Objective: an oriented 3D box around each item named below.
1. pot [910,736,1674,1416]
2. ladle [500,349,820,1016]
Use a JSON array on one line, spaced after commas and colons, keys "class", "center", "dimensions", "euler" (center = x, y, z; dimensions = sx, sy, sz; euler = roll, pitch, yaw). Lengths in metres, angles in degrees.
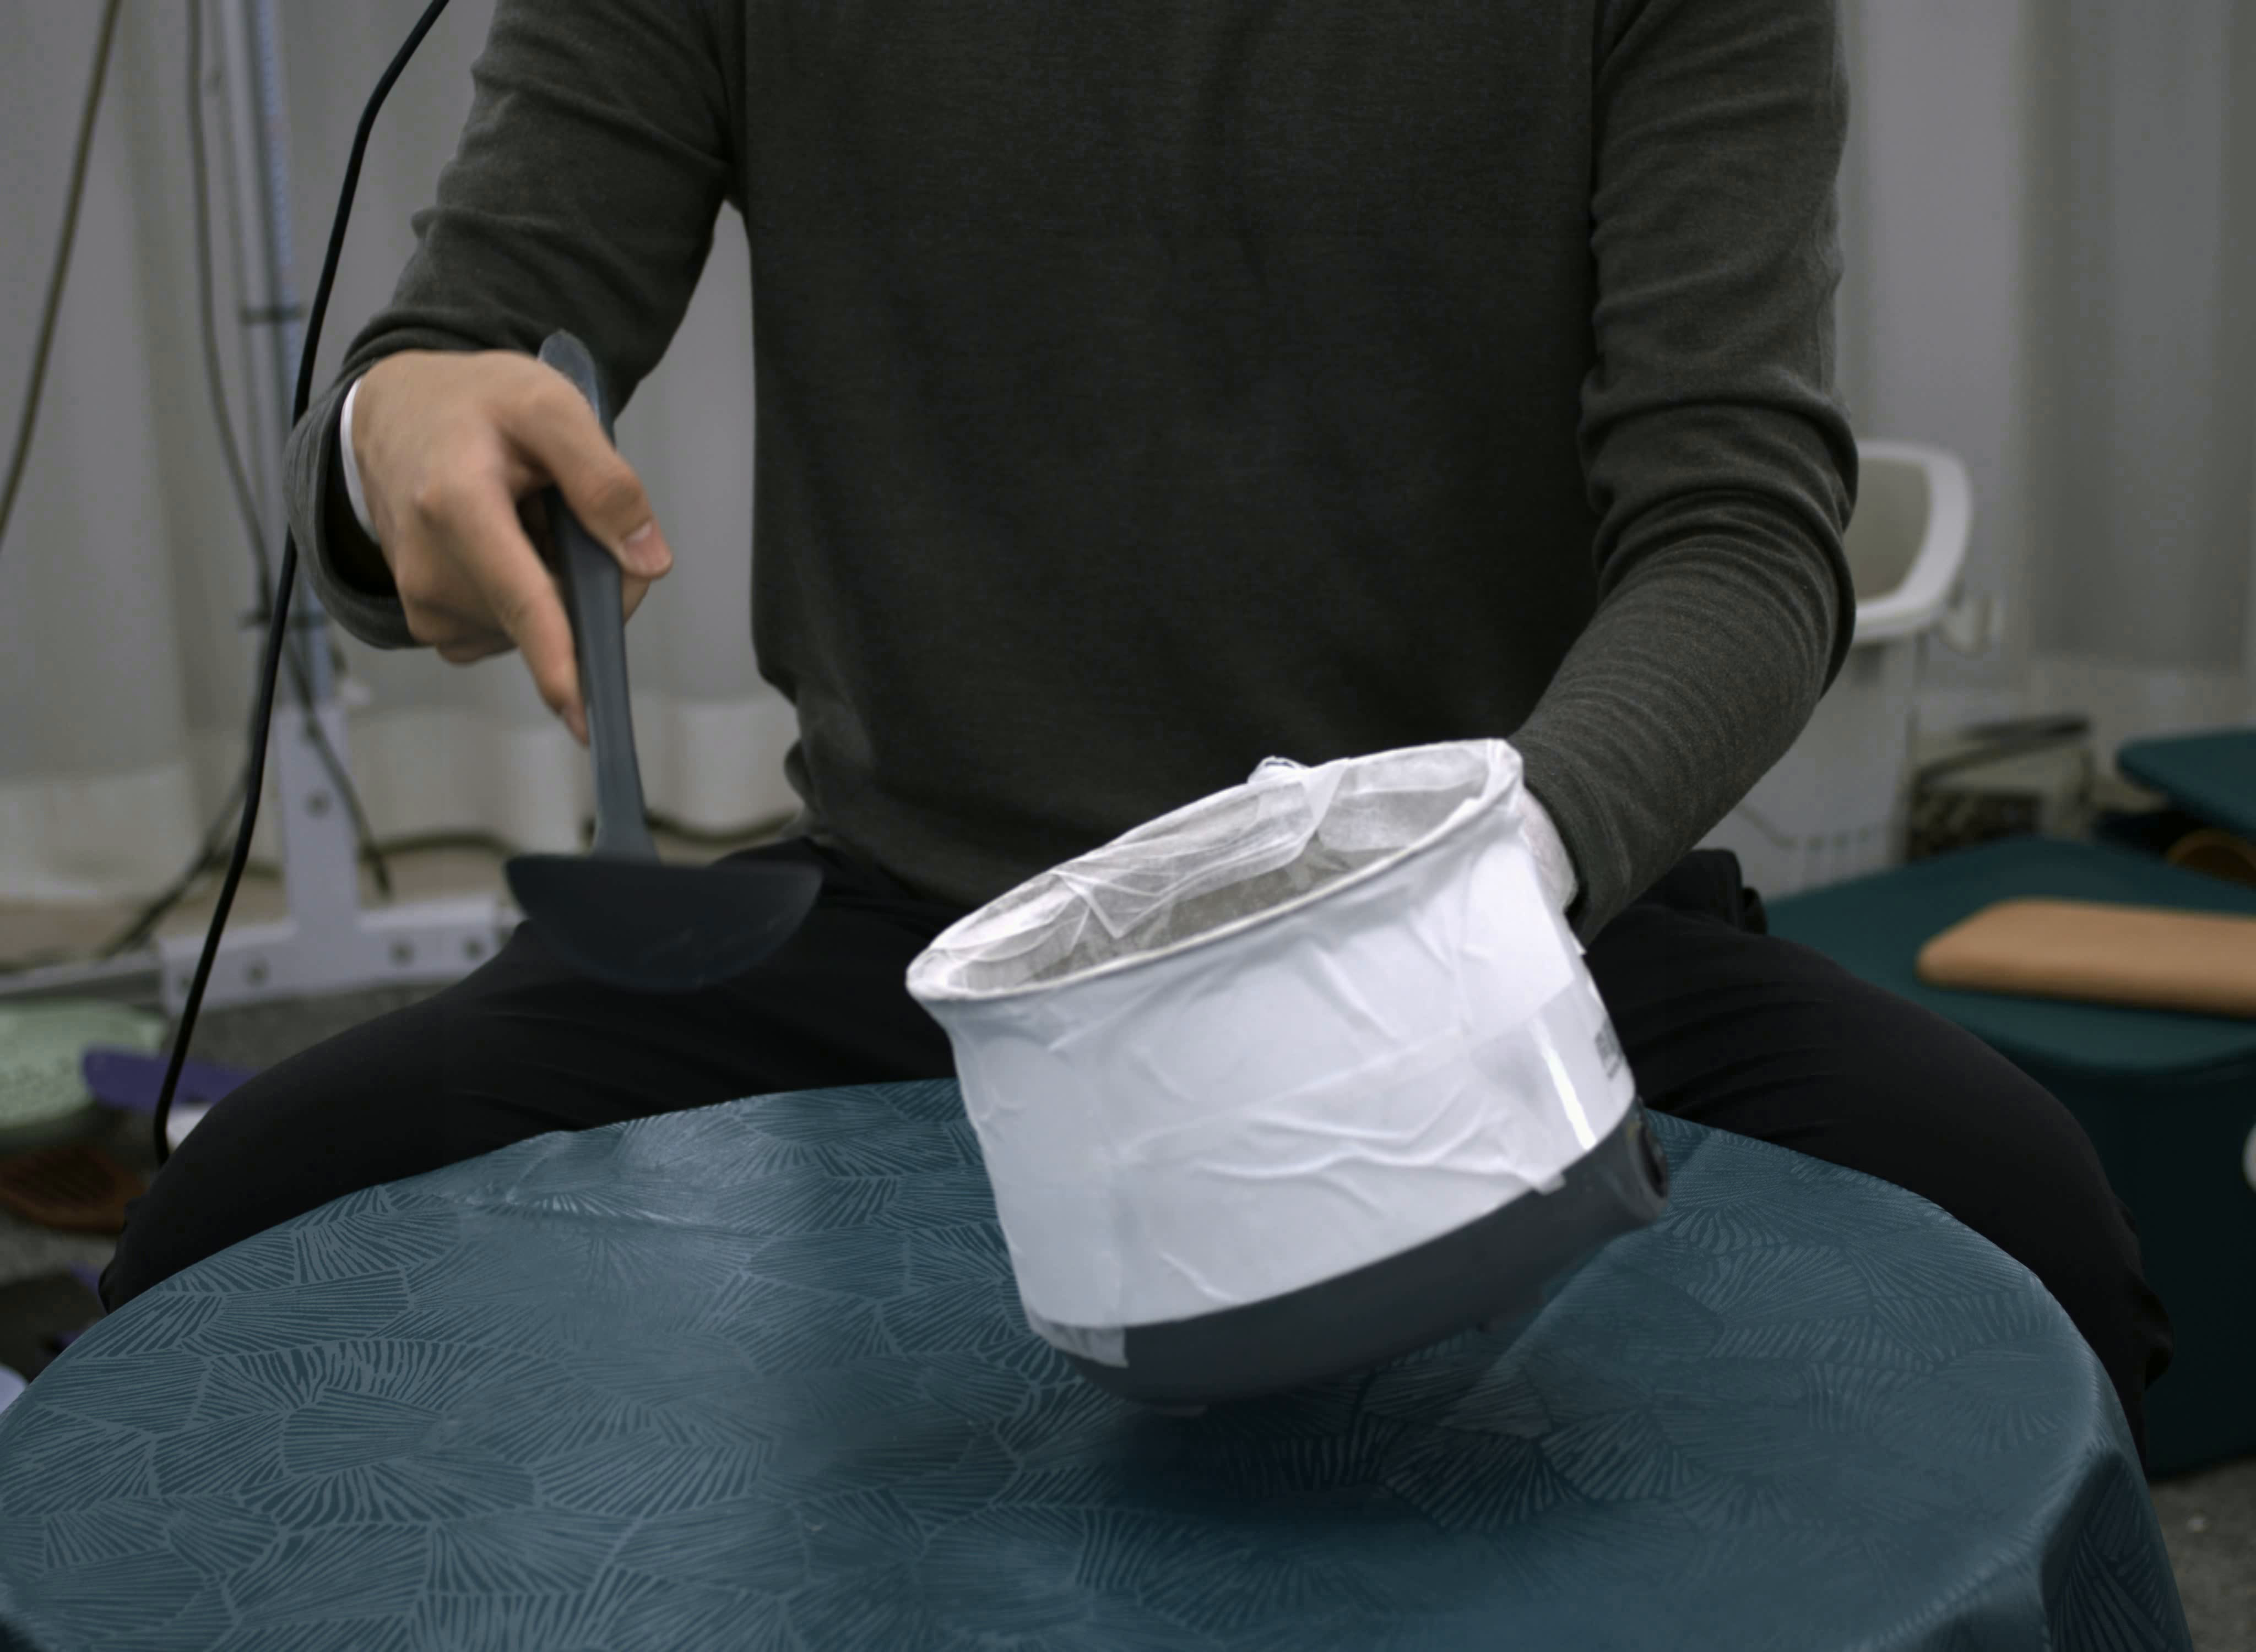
[{"class": "pot", "center": [0.050, 0.062, 1.513], "dimensions": [0.178, 0.136, 0.235], "euler": [-18, 10, 14]}, {"class": "ladle", "center": [-0.147, -0.059, 1.563], "dimensions": [0.085, 0.063, 0.319], "euler": [8, 39, -17]}]
